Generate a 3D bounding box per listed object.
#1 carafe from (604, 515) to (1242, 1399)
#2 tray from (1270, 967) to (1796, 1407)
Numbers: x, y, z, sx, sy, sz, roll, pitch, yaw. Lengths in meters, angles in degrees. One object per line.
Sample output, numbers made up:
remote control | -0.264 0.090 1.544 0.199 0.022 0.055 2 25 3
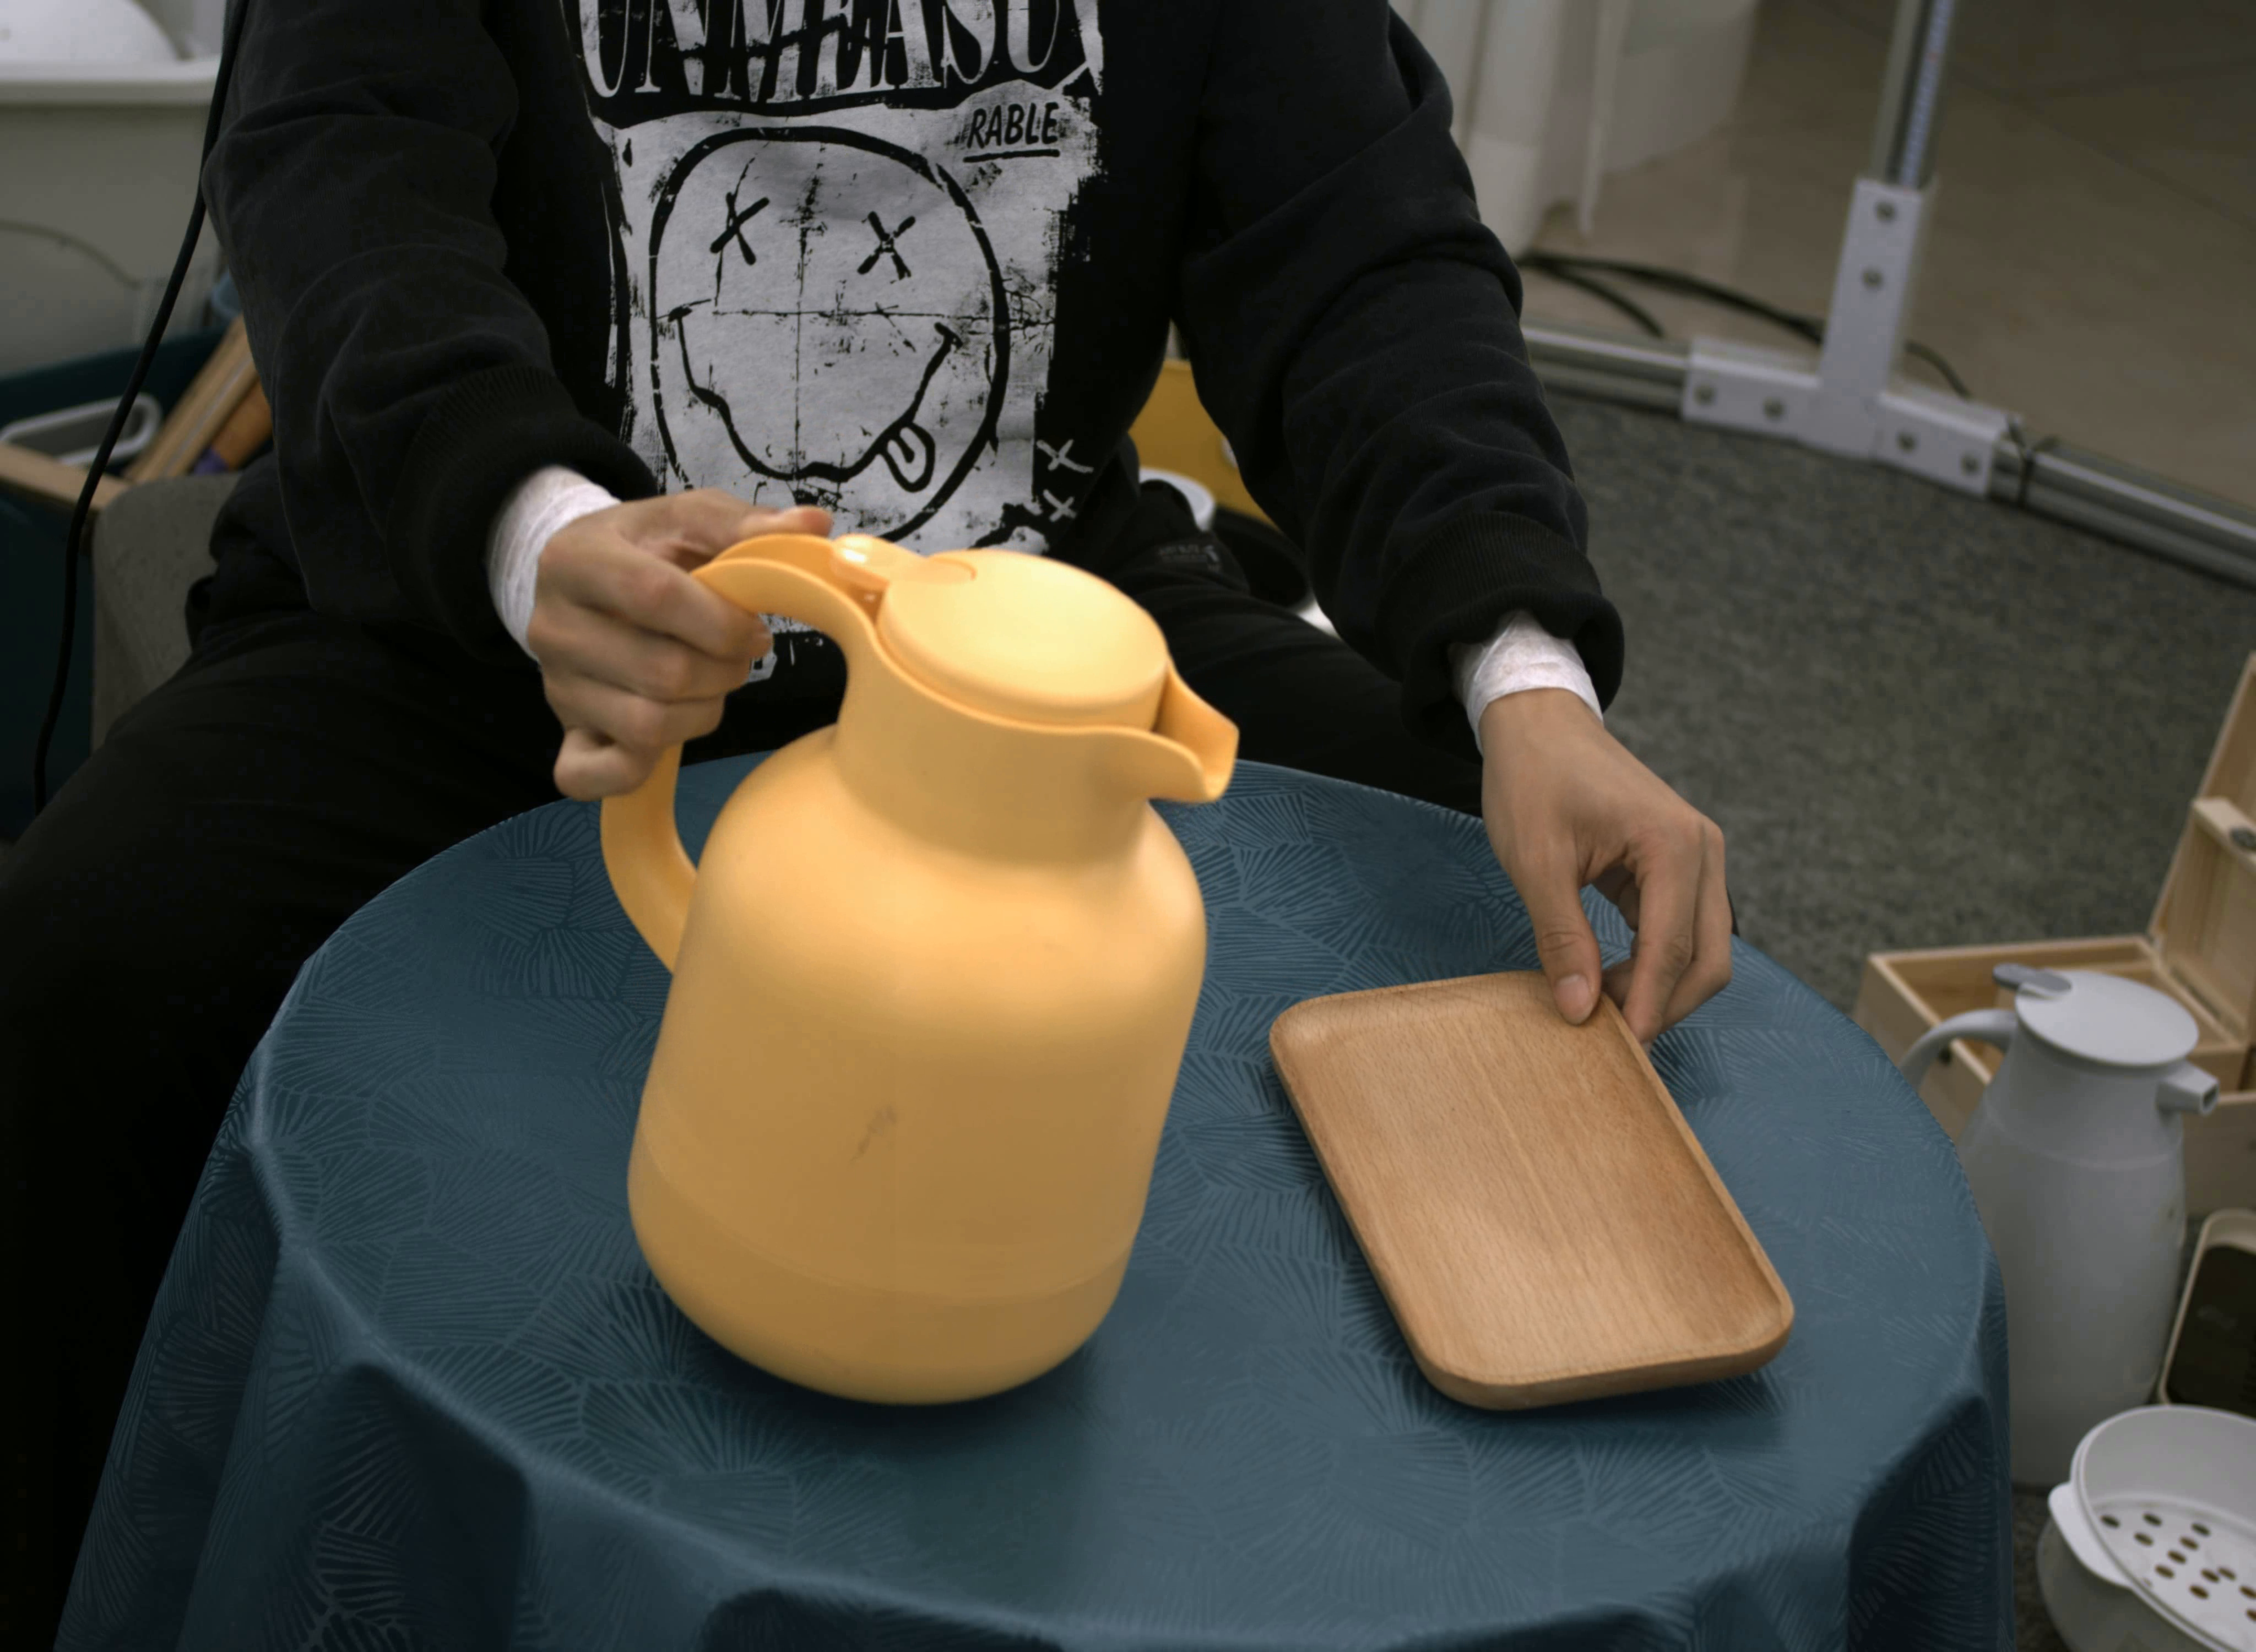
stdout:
carafe | -0.075 0.030 1.657 0.203 0.260 0.163 28 29 19
tray | 0.133 0.120 1.808 0.130 0.023 0.253 -5 28 -10
